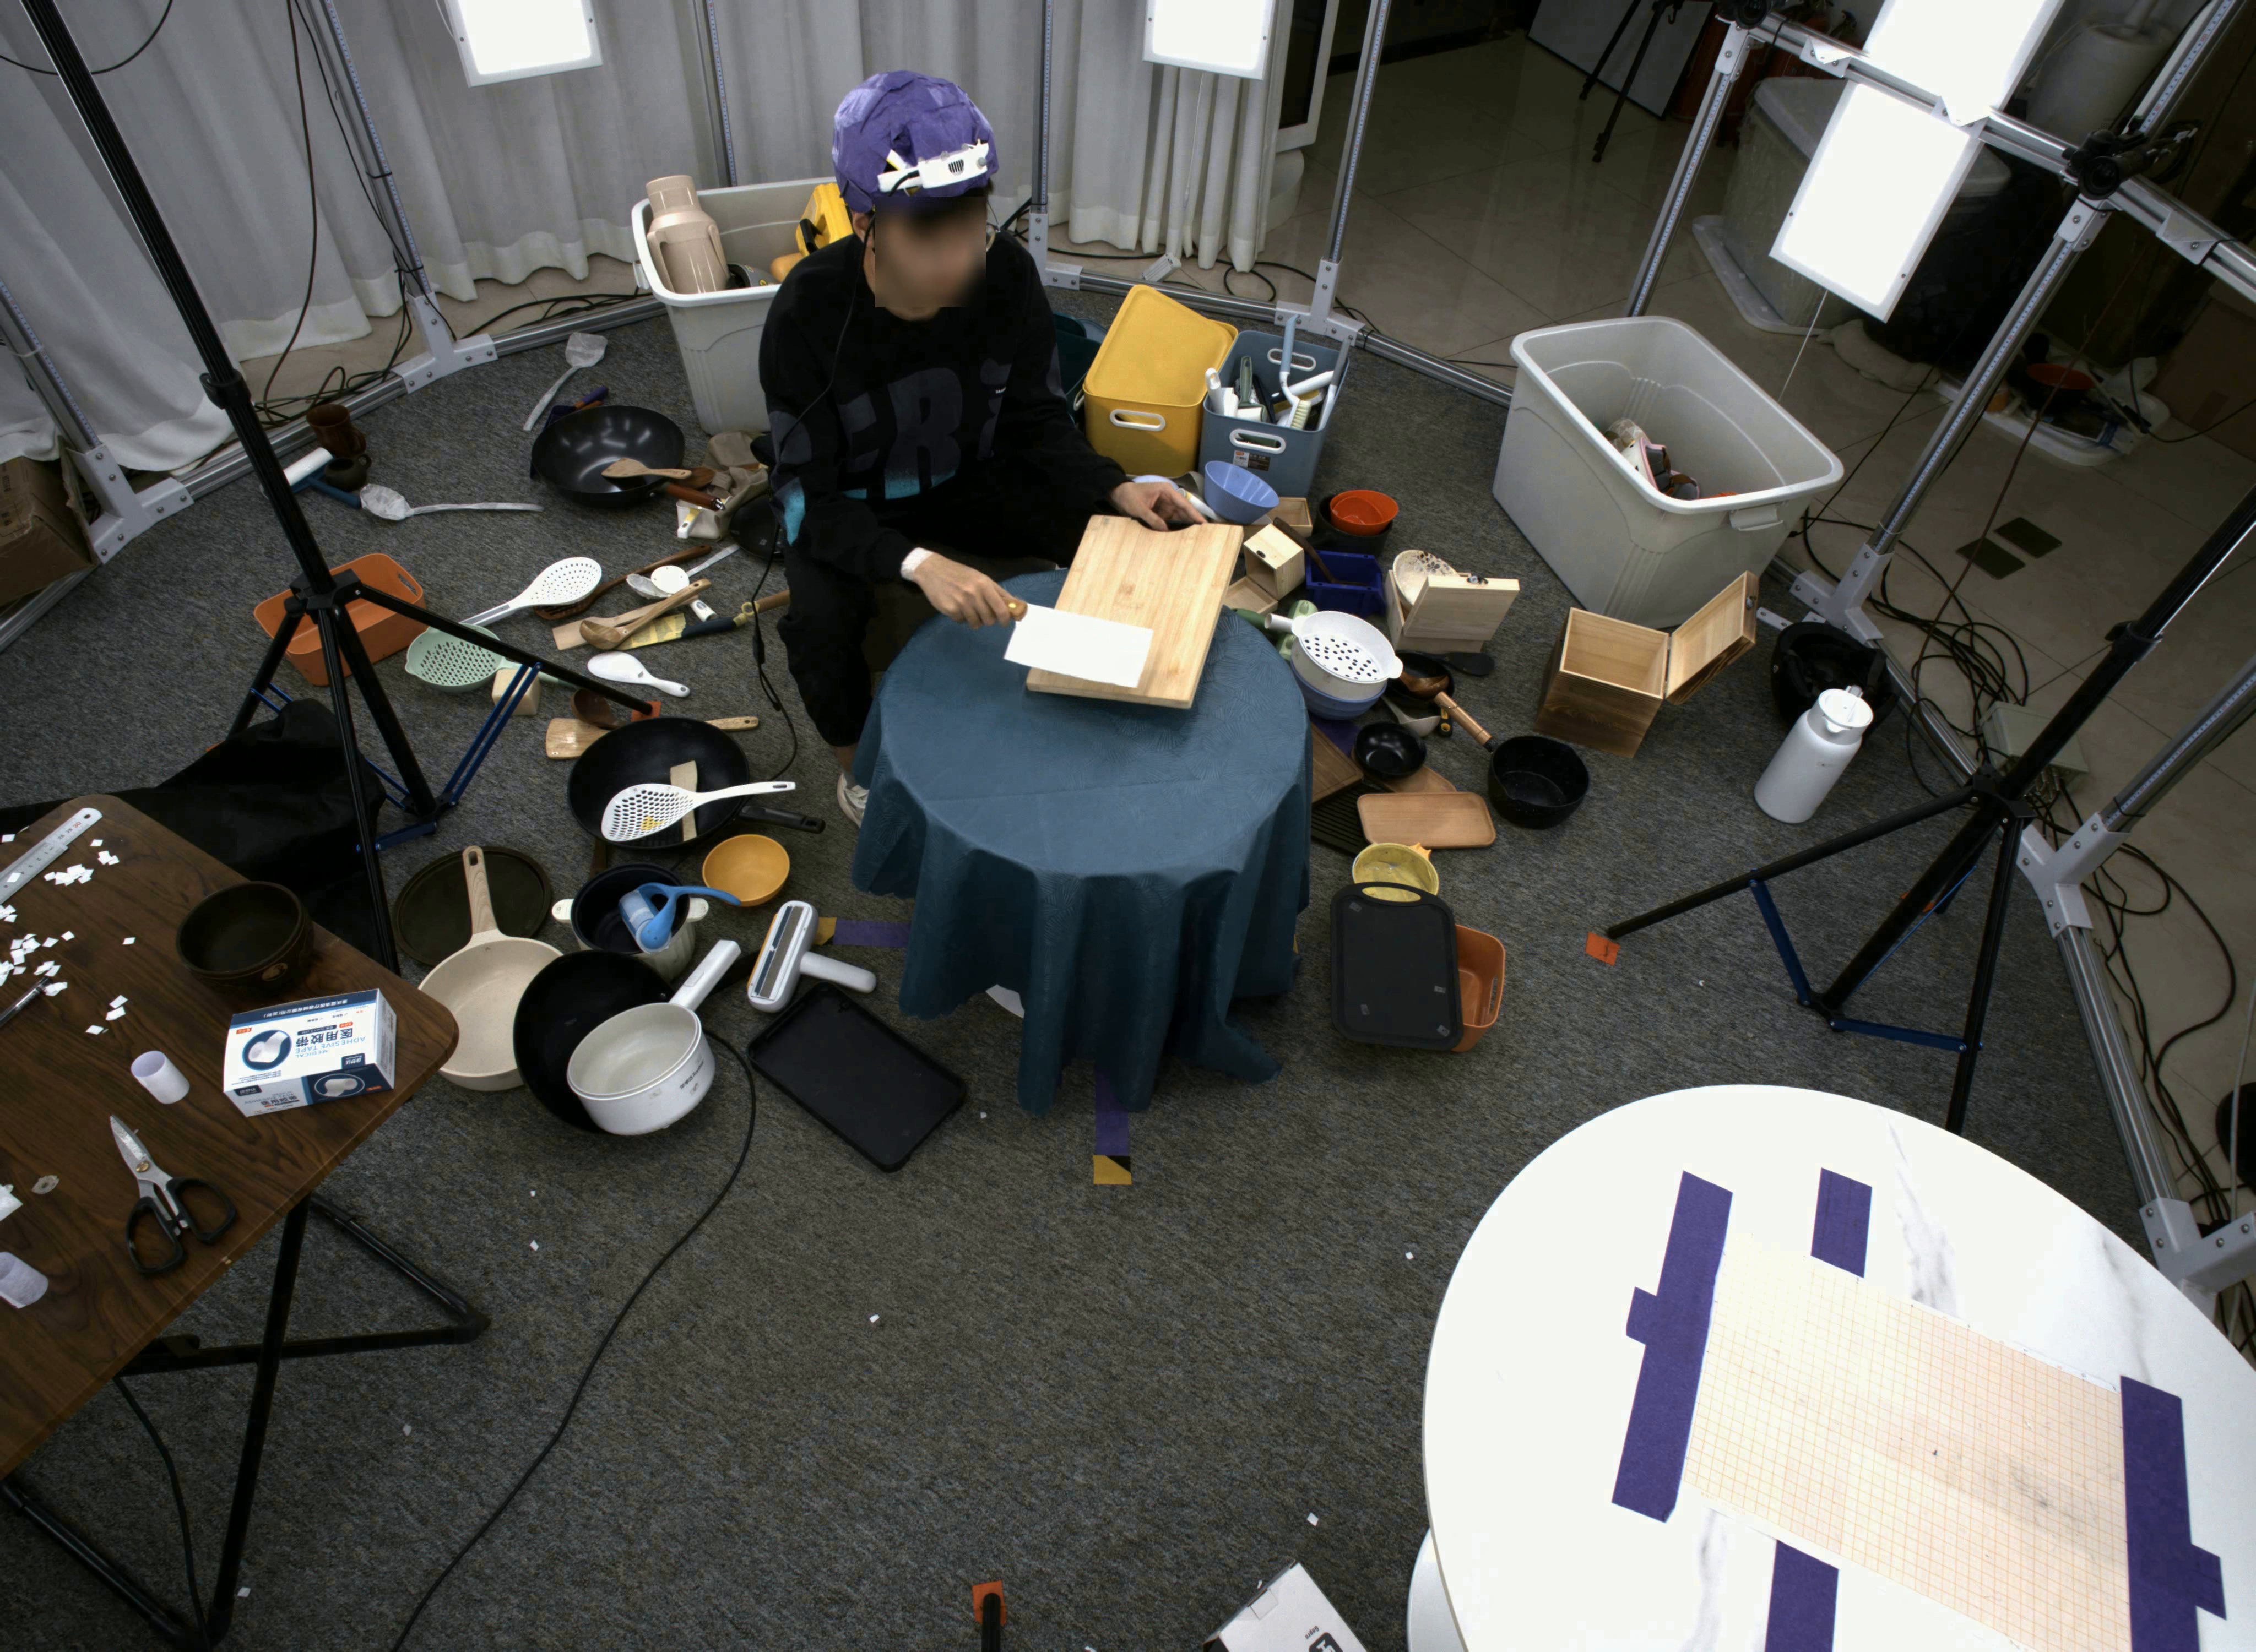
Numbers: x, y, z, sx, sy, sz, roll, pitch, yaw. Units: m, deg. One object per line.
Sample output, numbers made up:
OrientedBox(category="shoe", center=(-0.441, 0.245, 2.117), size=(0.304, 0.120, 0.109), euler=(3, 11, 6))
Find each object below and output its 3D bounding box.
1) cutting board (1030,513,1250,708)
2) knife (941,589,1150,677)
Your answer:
OrientedBox(category="cutting board", center=(0.023, -0.323, 1.881), size=(0.251, 0.023, 0.356), euler=(7, 57, 15))
OrientedBox(category="knife", center=(-0.122, -0.262, 1.760), size=(0.307, 0.020, 0.094), euler=(13, 72, 14))
